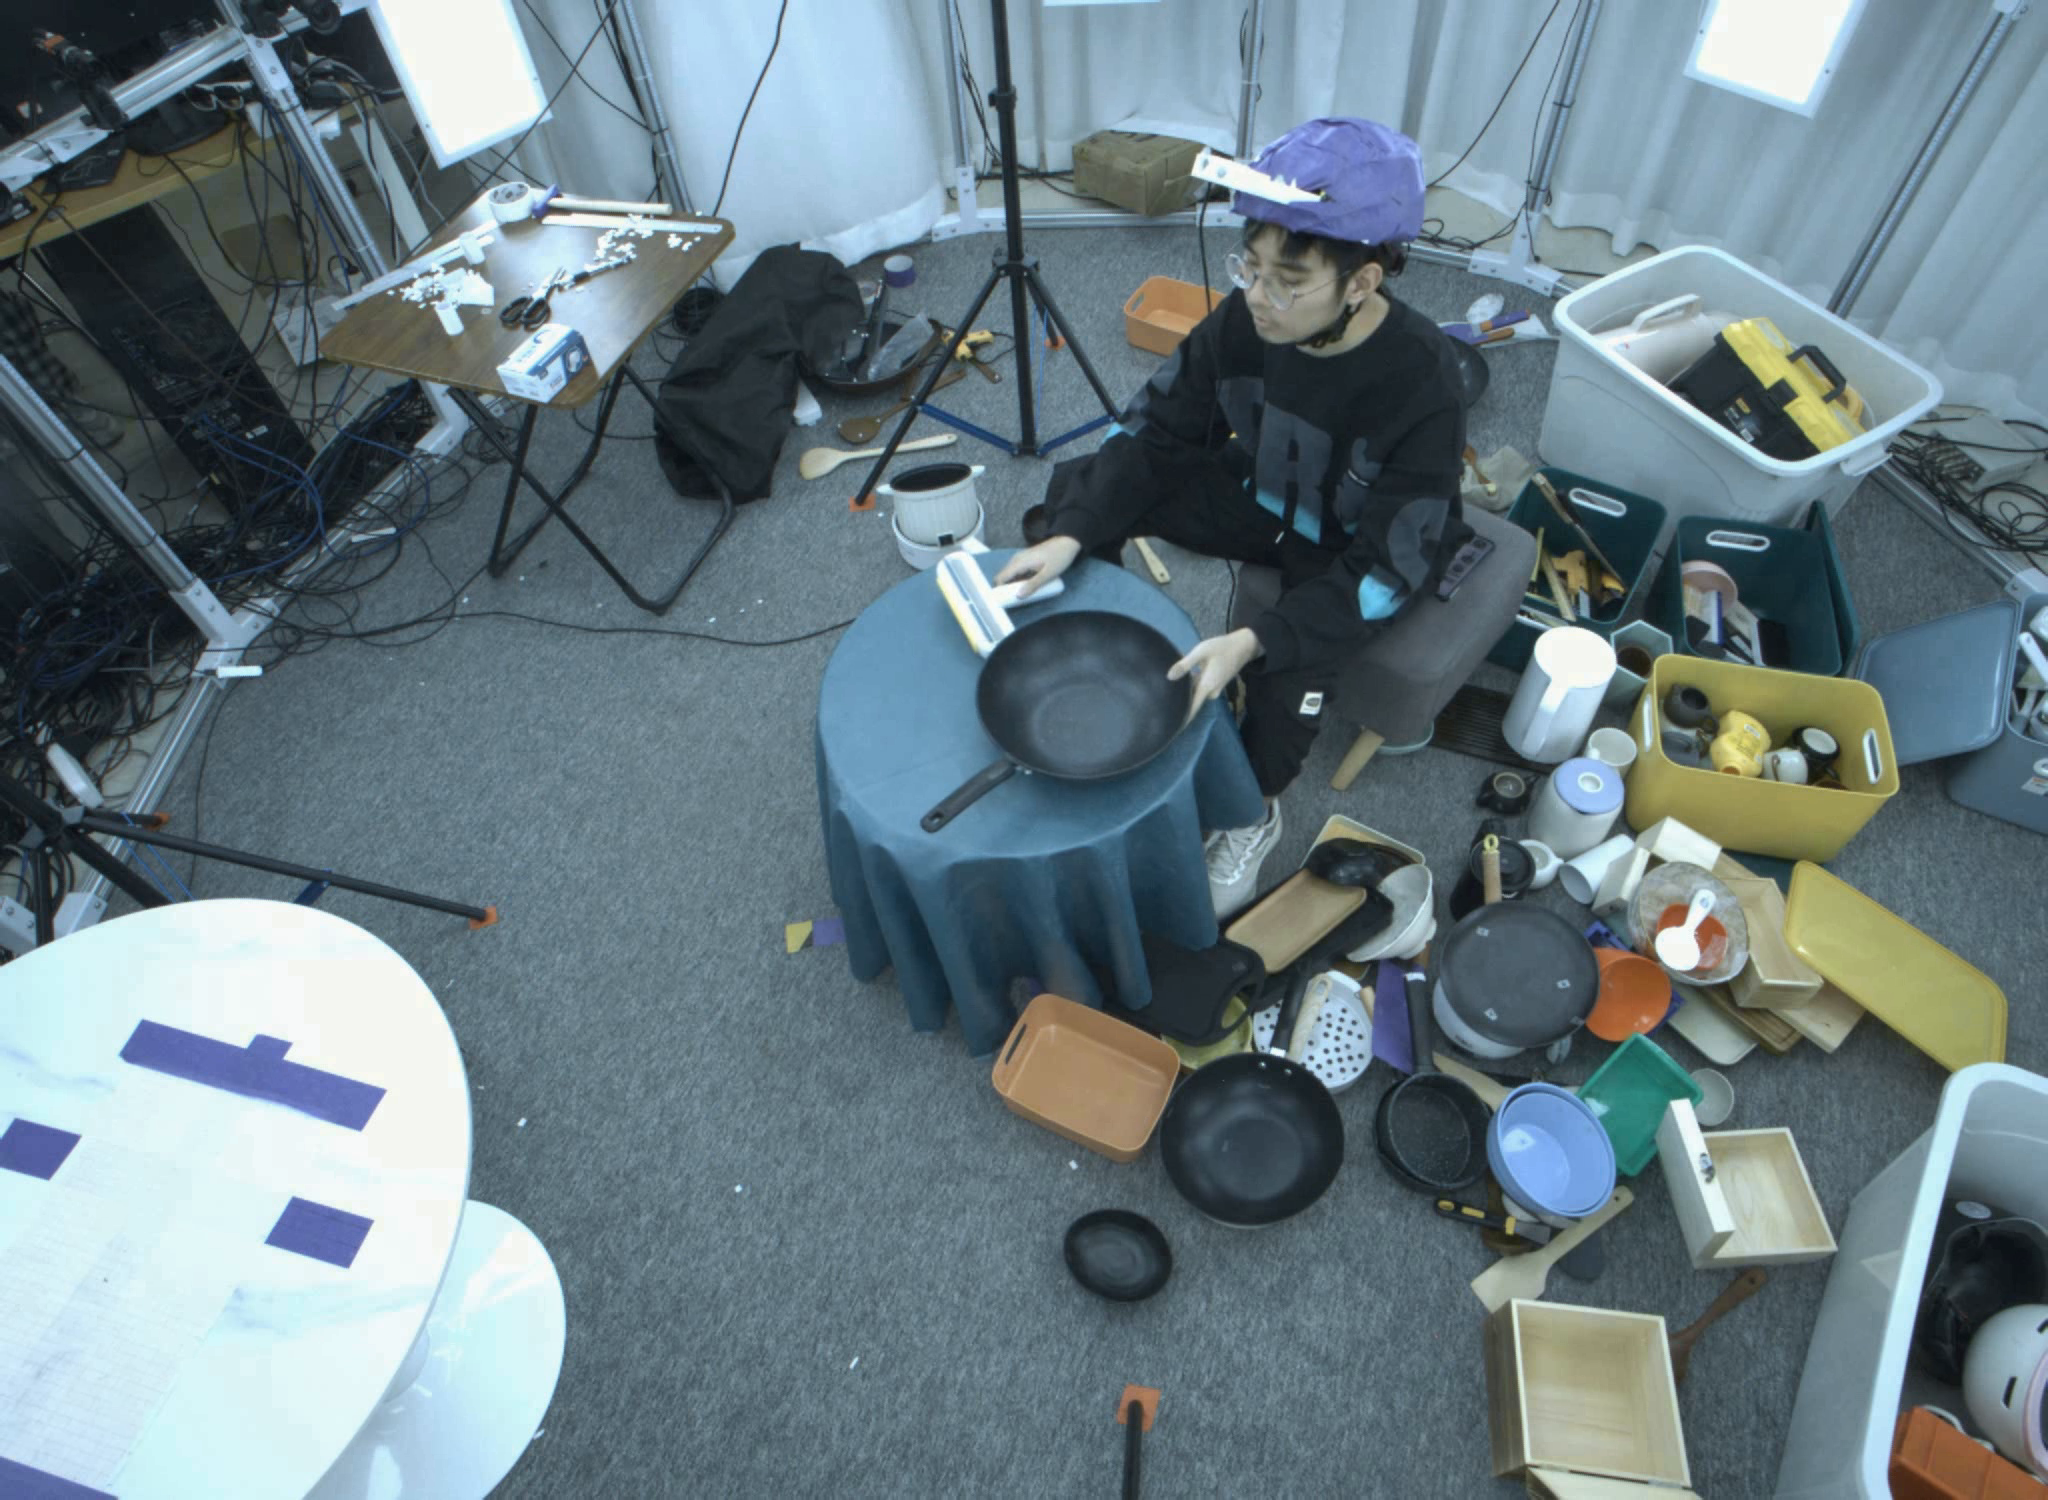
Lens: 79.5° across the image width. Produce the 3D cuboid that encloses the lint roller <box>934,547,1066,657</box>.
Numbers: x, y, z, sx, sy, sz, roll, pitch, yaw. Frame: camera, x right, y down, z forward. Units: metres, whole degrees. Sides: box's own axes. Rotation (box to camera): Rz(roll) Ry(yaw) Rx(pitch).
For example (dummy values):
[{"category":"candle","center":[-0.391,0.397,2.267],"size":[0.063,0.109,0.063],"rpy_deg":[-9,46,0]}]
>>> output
[{"category":"lint roller","center":[-0.024,-0.244,1.916],"size":[0.194,0.074,0.190],"rpy_deg":[-20,64,-14]}]

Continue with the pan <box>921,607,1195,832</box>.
[{"category":"pan","center":[0.034,-0.020,1.730],"size":[0.304,0.113,0.480],"rpy_deg":[33,62,25]}]
